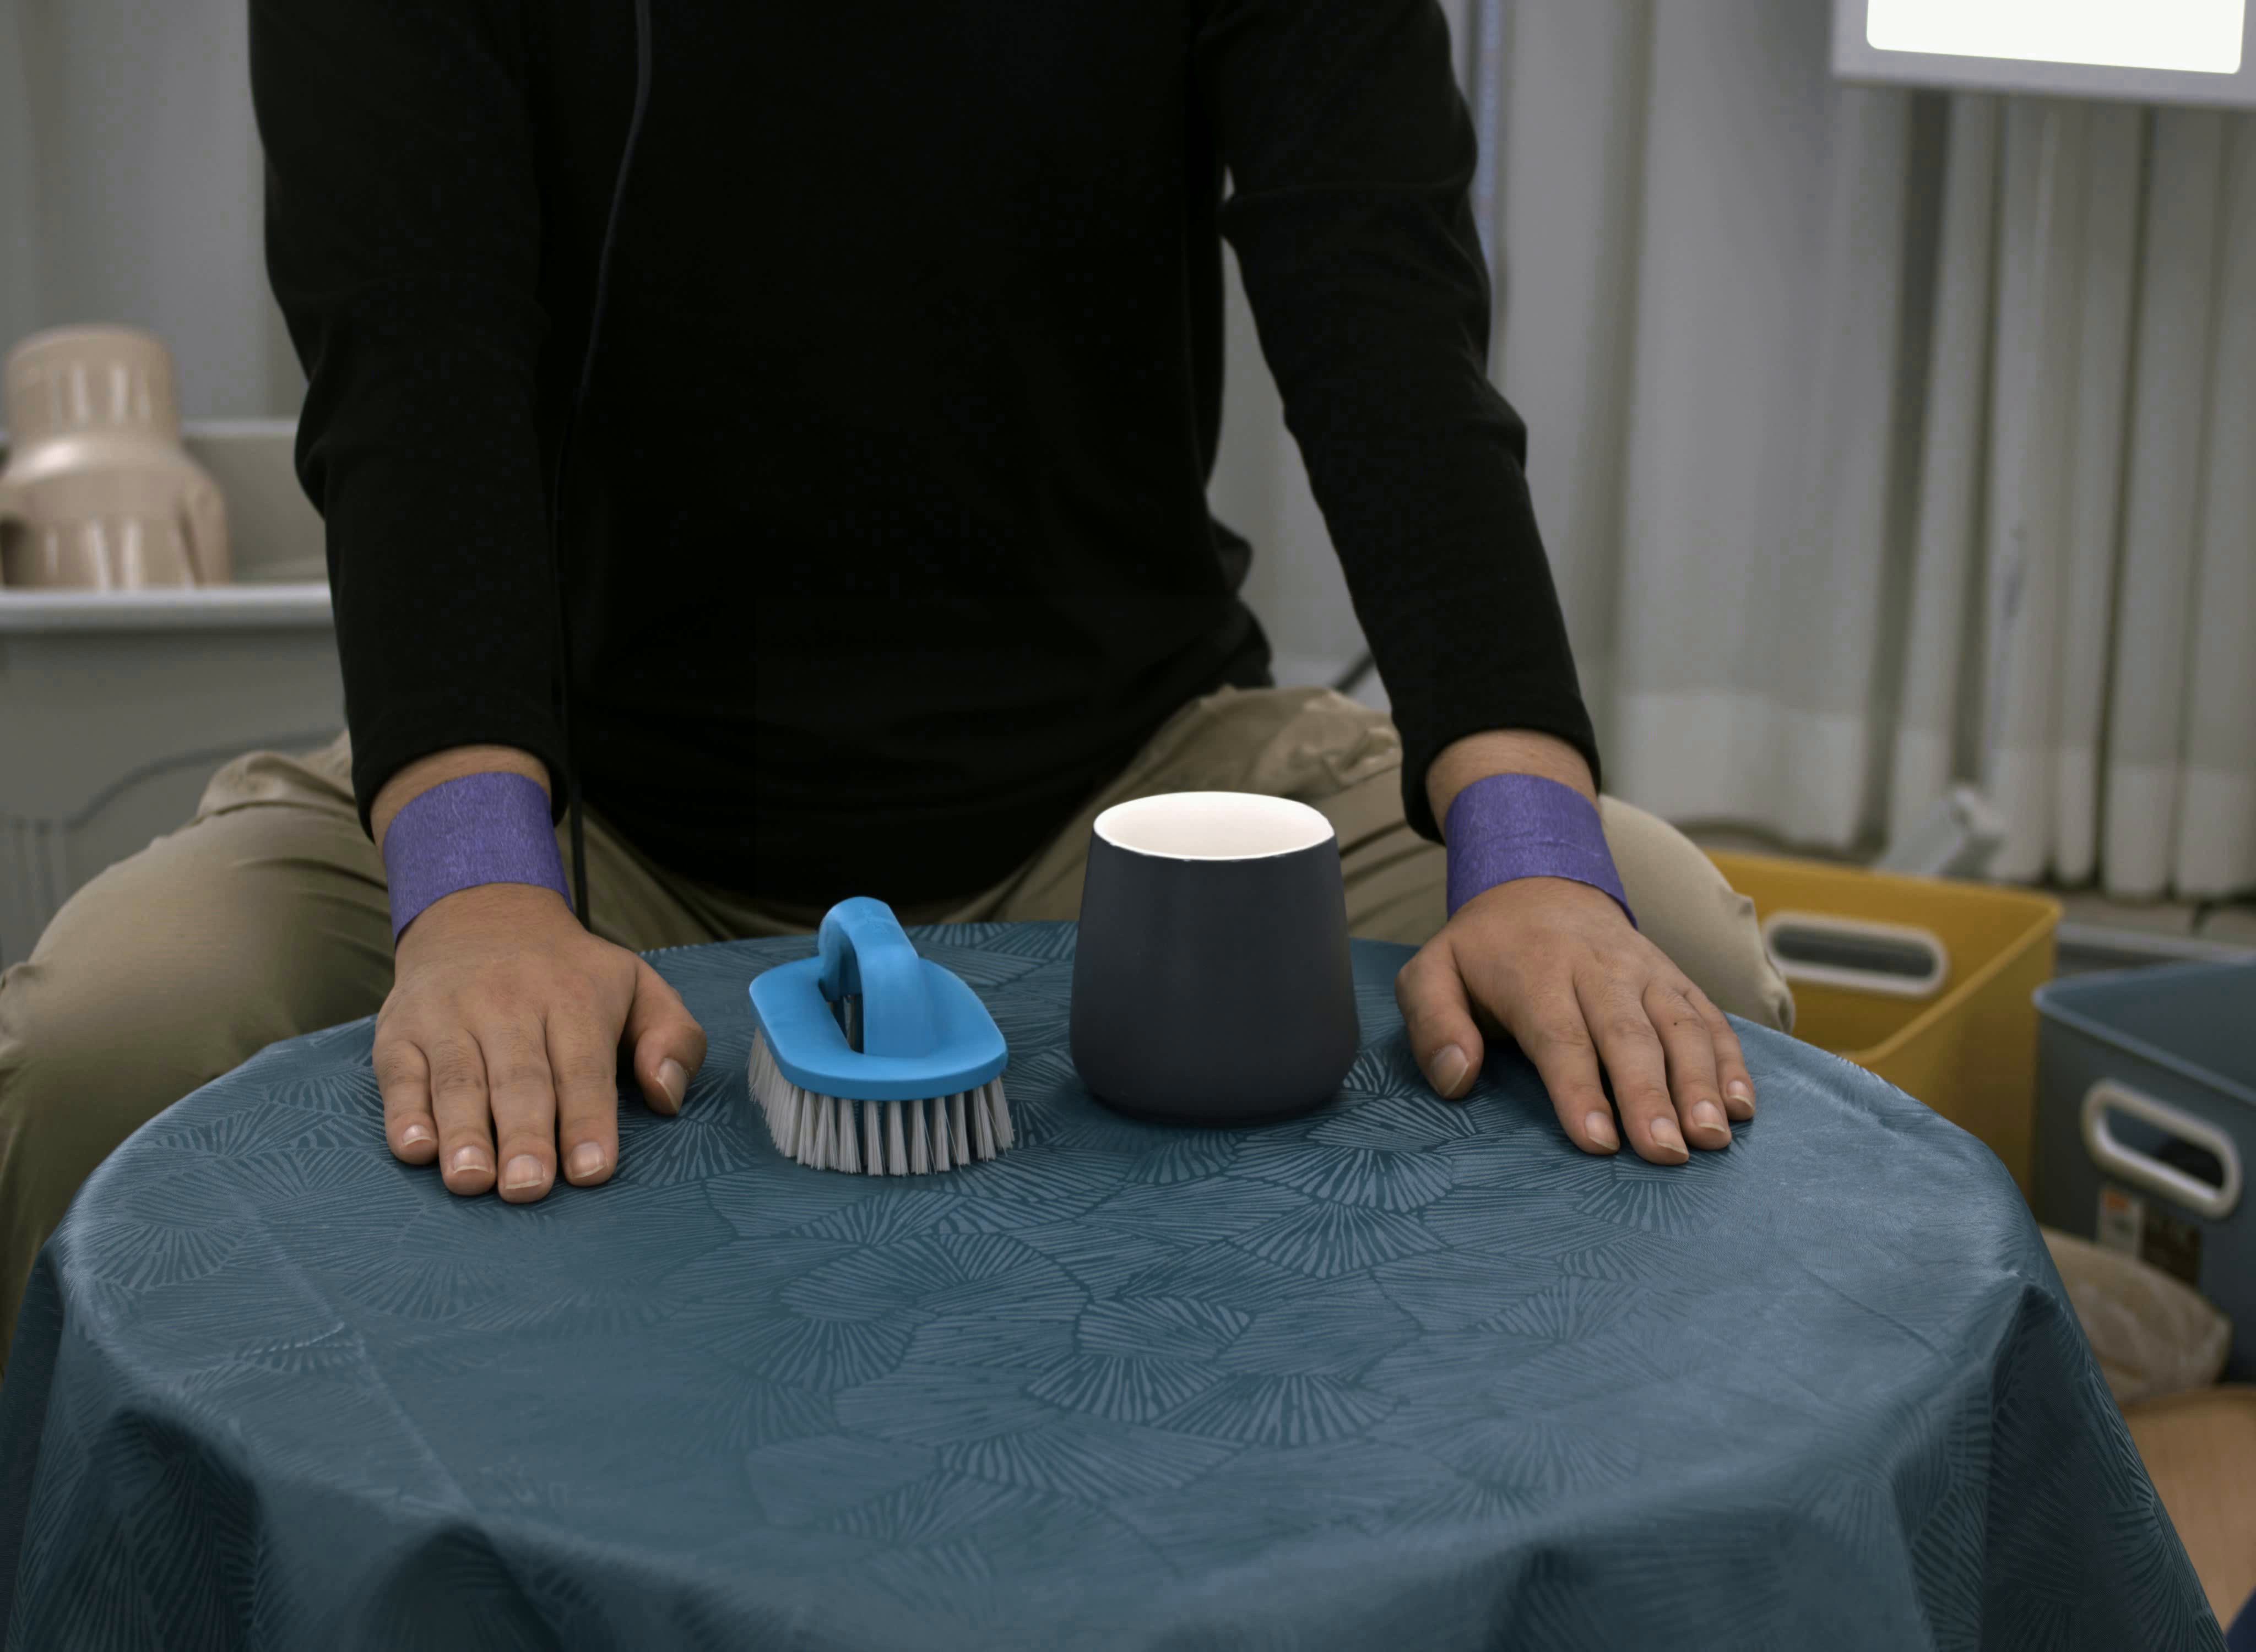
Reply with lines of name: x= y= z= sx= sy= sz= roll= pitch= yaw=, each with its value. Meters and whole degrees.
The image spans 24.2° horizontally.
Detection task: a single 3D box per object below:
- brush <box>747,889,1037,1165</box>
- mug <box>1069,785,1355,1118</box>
brush: x=-0.079 y=0.058 z=1.689 sx=0.084 sy=0.064 sz=0.140 roll=-7 pitch=16 yaw=-9
mug: x=0.026 y=0.036 z=1.719 sx=0.093 sy=0.090 sz=0.122 roll=-1 pitch=18 yaw=-7
